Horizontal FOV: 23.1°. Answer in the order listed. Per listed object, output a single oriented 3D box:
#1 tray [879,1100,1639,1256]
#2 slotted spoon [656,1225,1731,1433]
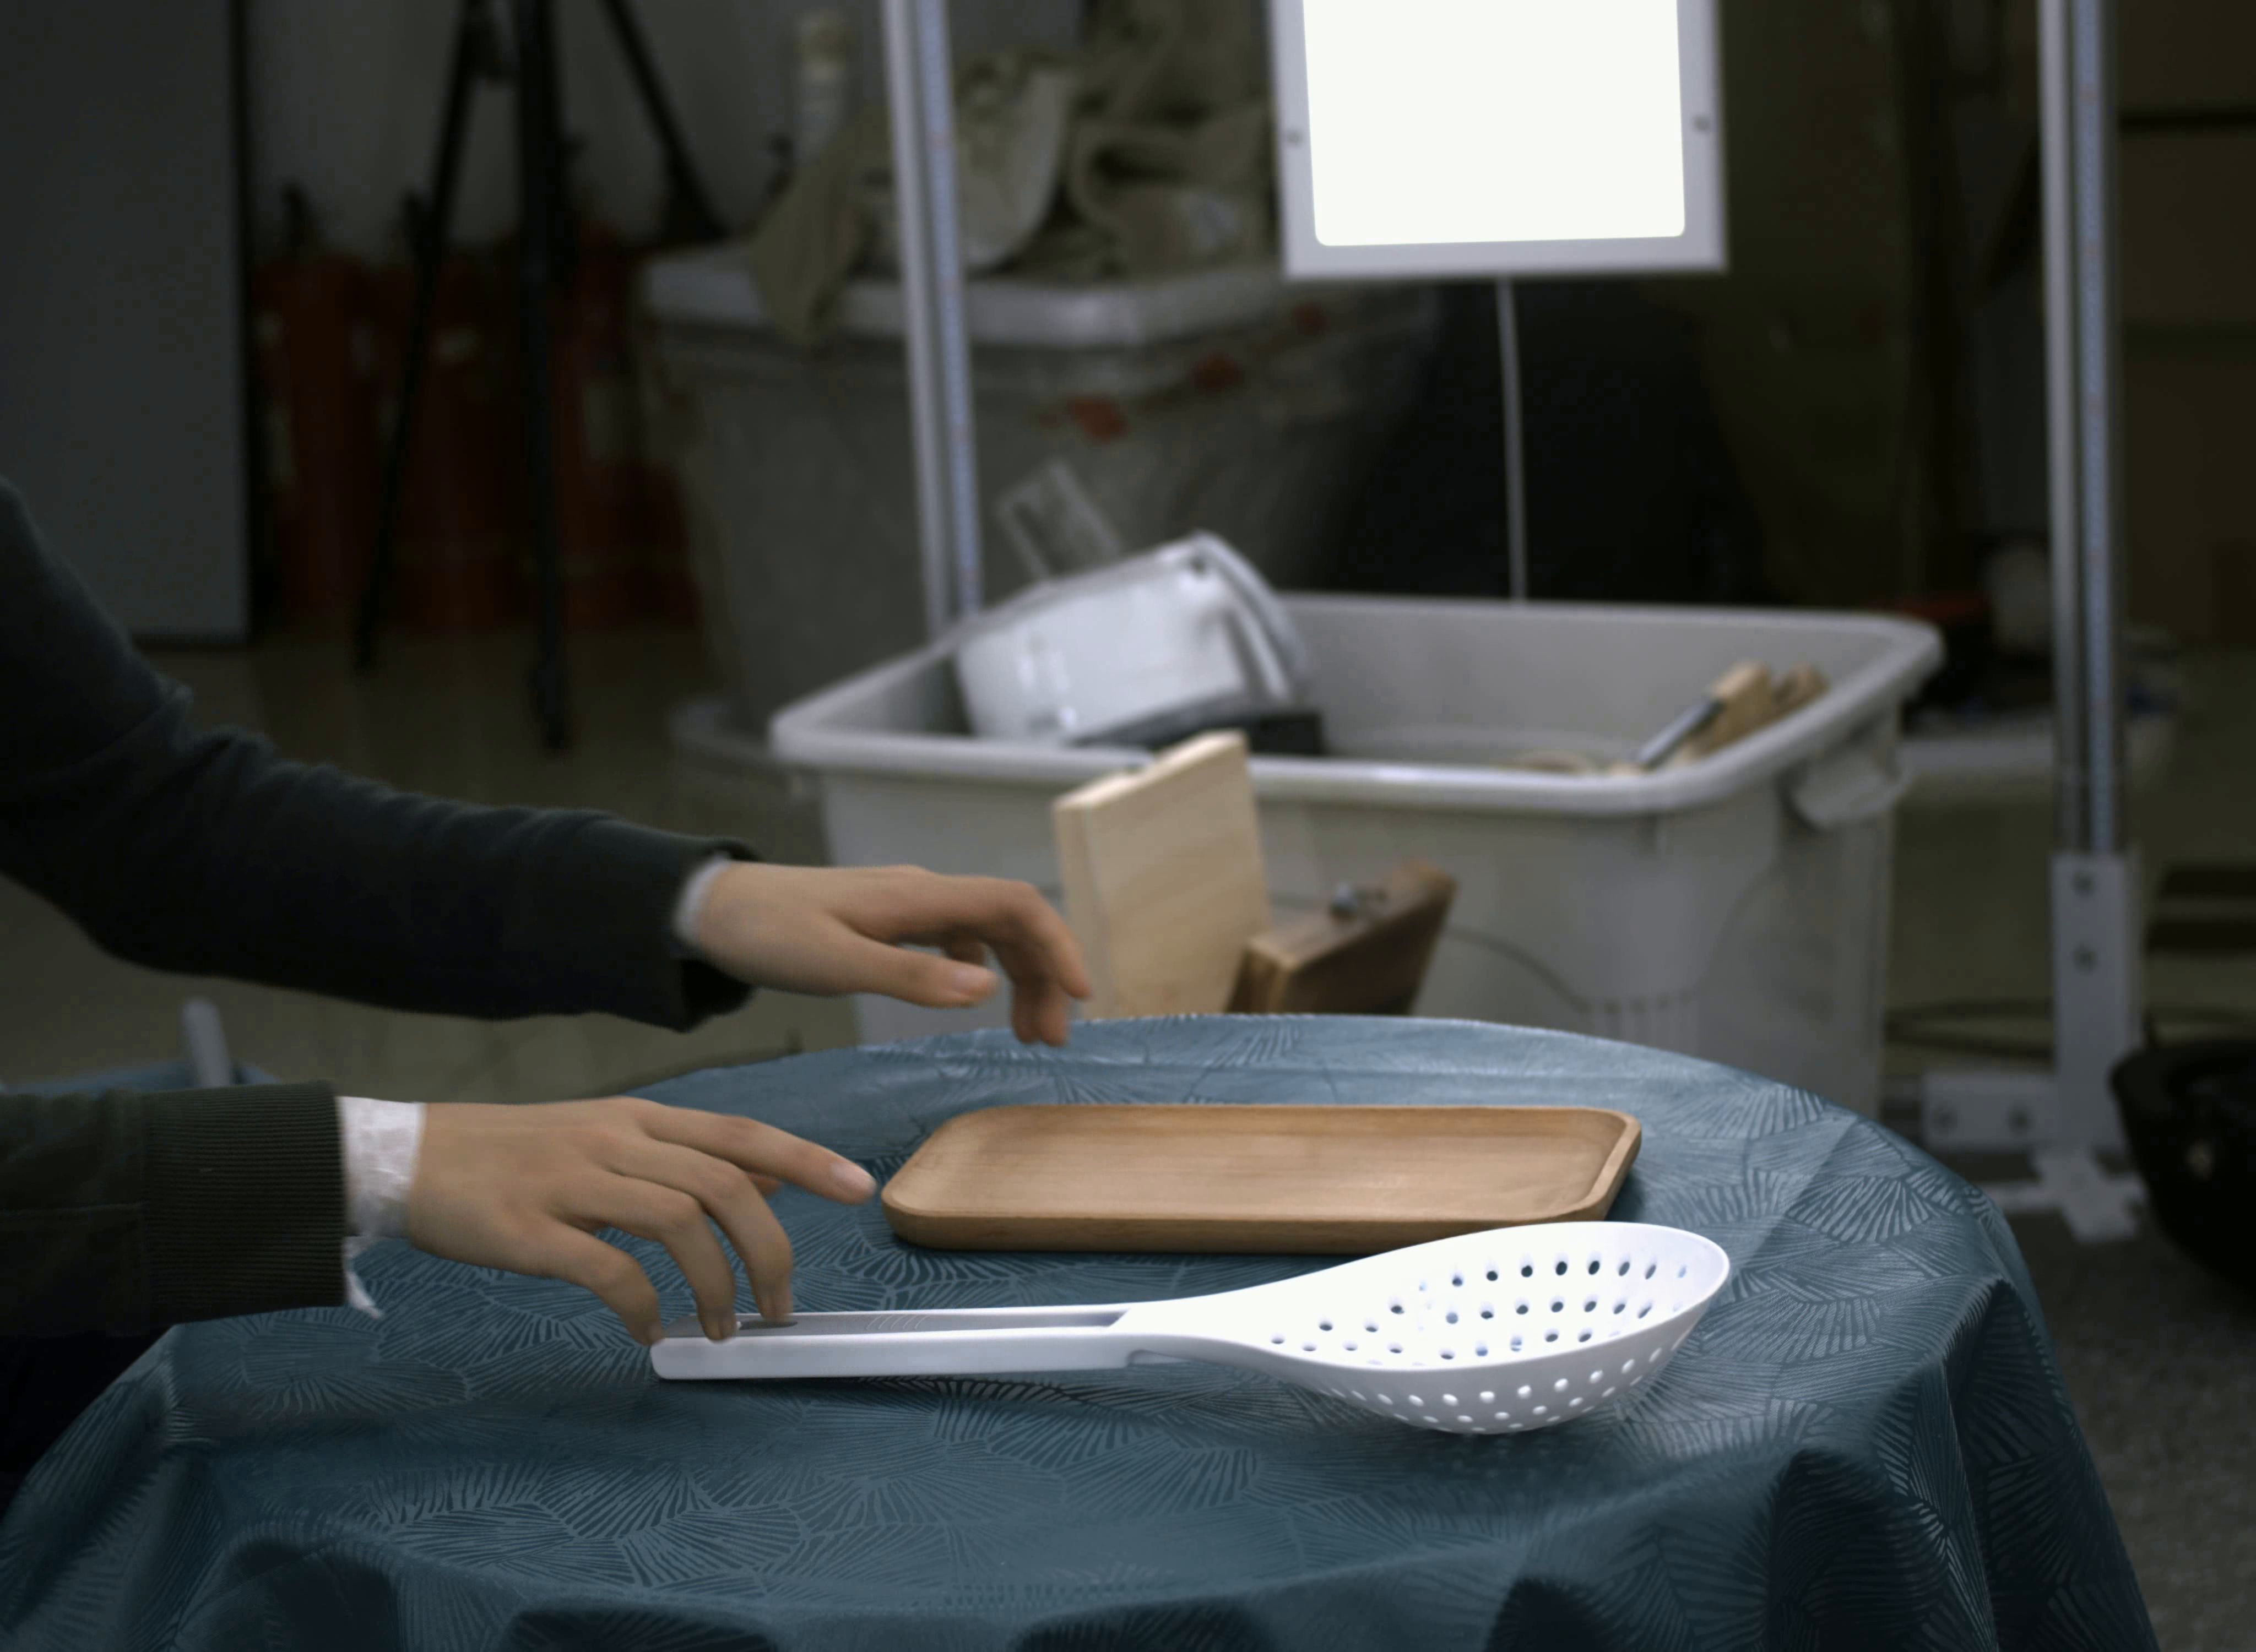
[{"bbox_3d":[0.046,0.120,1.875,0.253,0.023,0.128,-2,12,18],"label":"tray"},{"bbox_3d":[0.015,0.154,1.684,0.355,0.046,0.133,0,13,23],"label":"slotted spoon"}]
